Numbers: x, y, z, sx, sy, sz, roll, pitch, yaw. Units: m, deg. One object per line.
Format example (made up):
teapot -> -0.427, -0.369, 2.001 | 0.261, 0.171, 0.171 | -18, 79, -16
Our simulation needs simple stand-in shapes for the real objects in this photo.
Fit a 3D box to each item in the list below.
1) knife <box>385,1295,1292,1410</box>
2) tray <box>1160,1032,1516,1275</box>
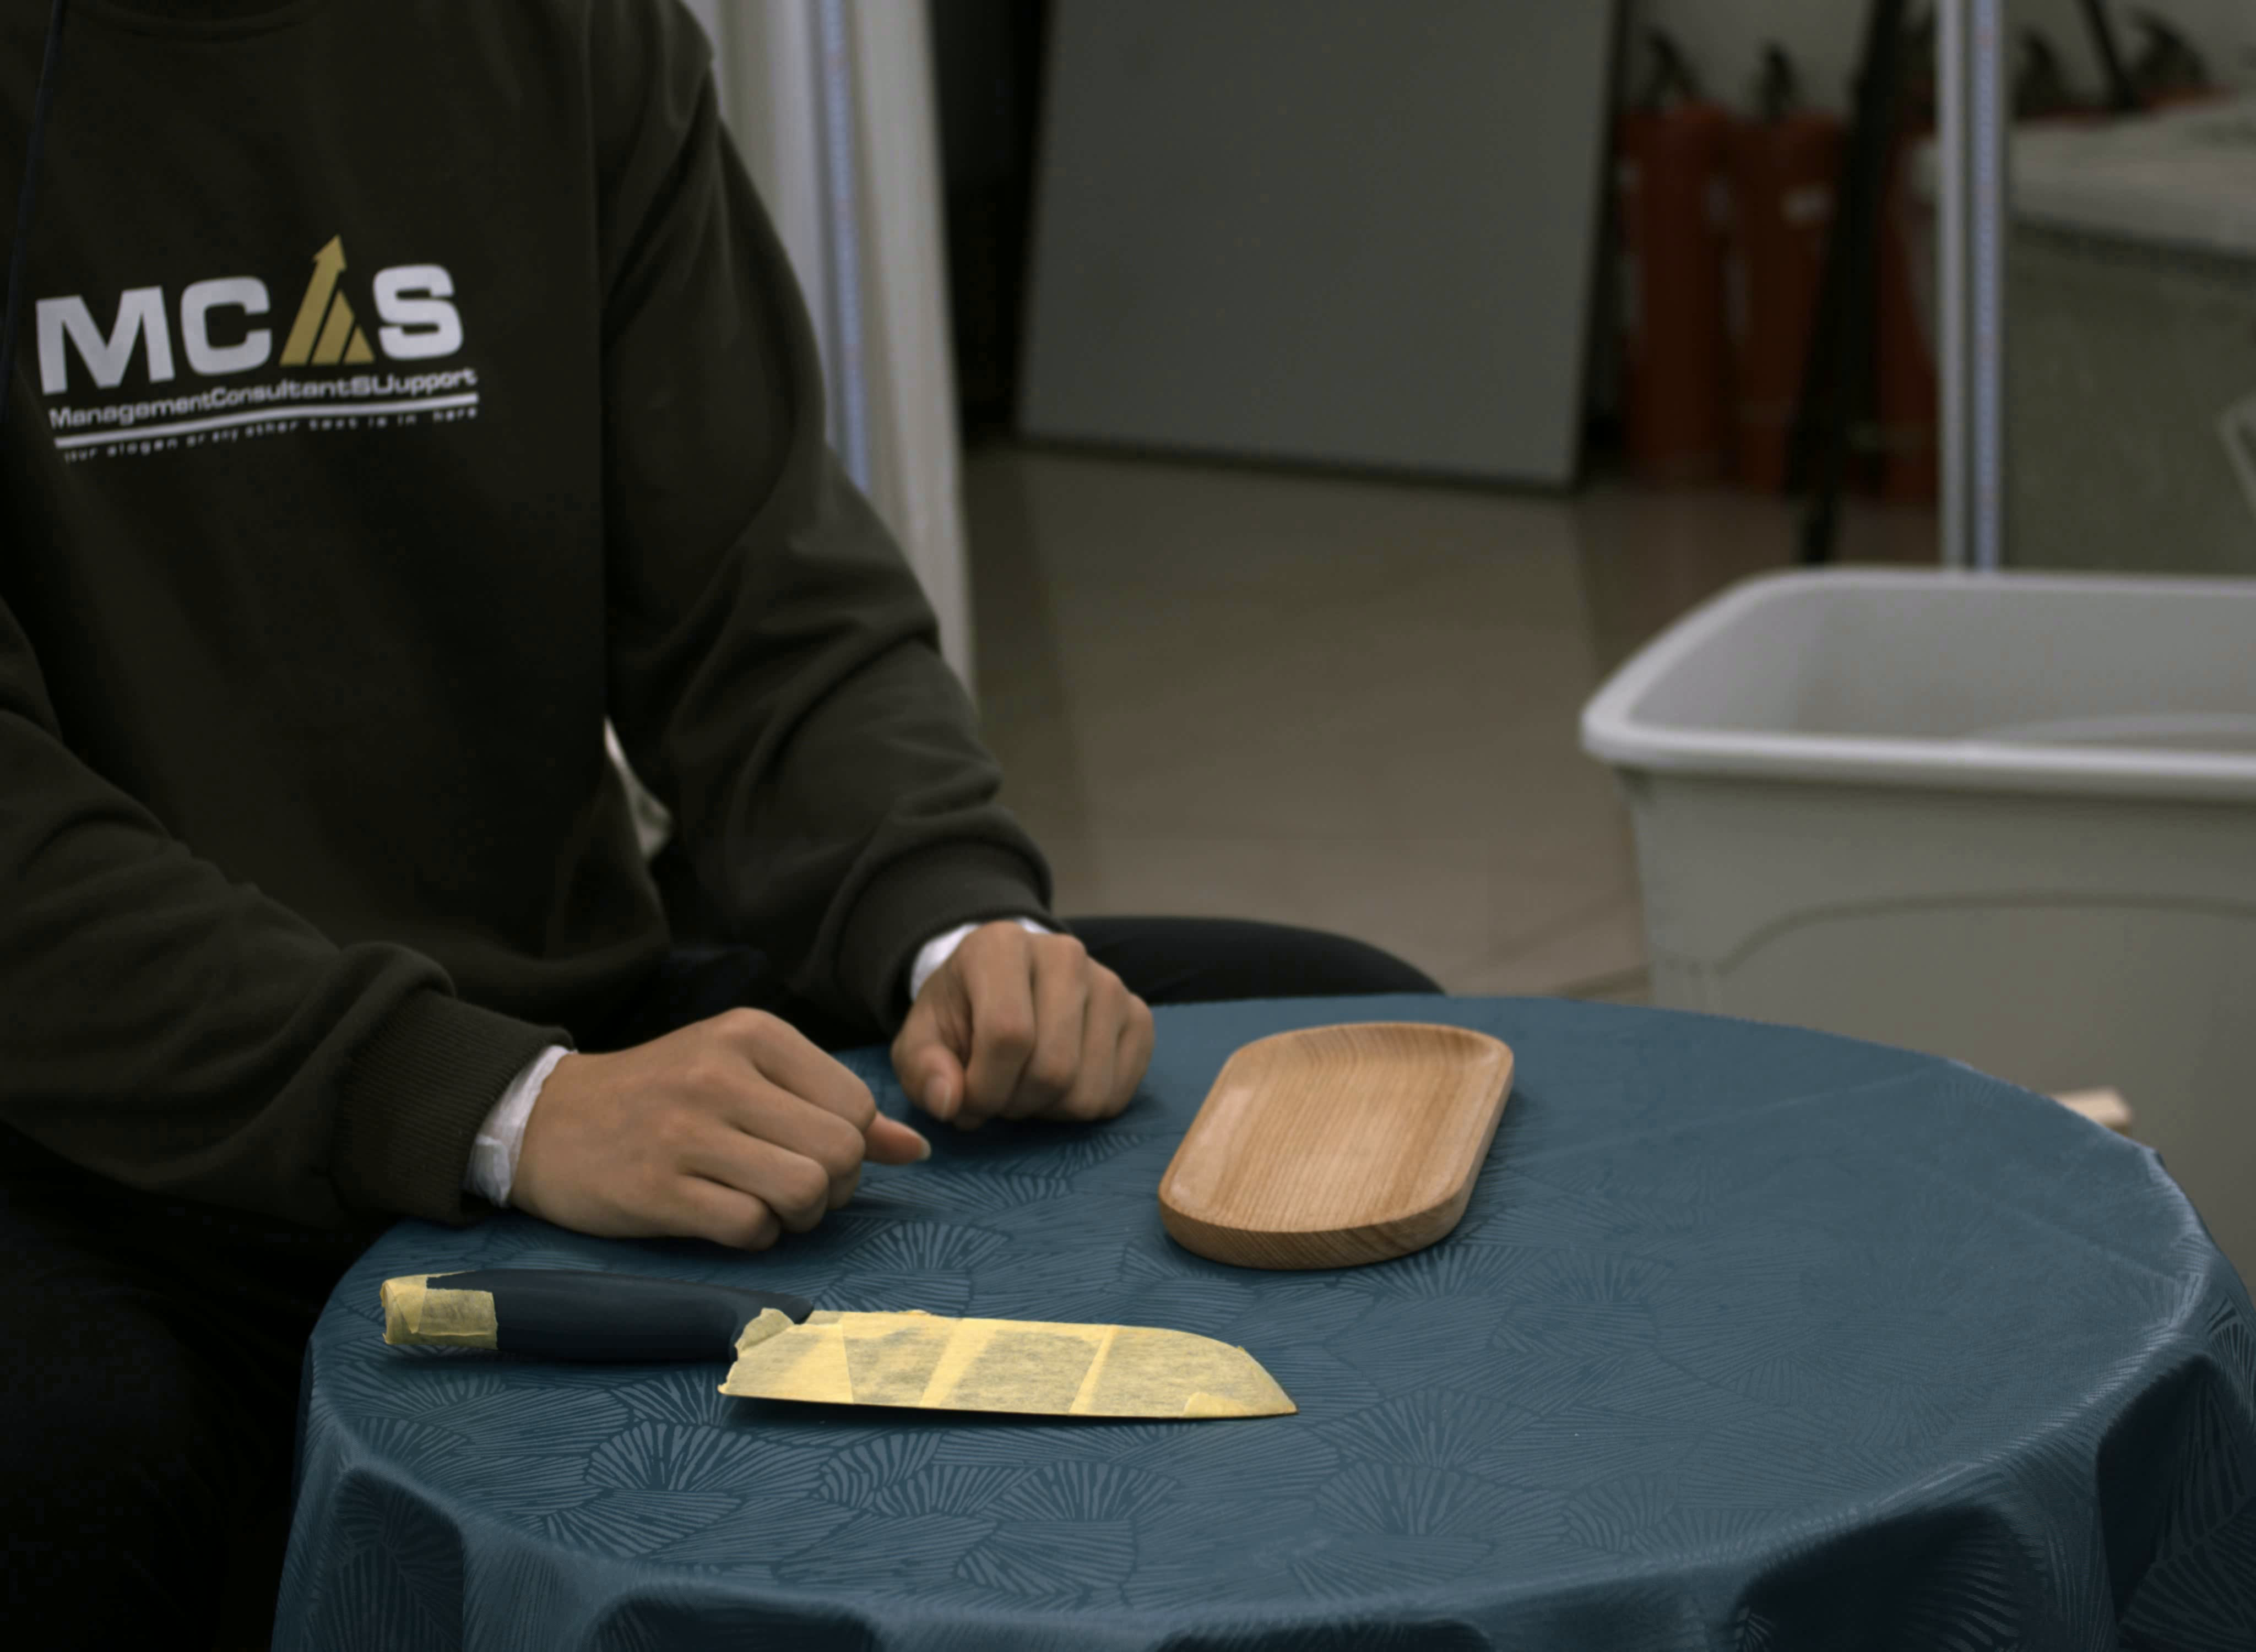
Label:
knife -> -0.090, 0.160, 1.610 | 0.288, 0.027, 0.080 | 0, 13, 14
tray -> 0.072, 0.106, 1.782 | 0.101, 0.020, 0.230 | -3, 15, 11
